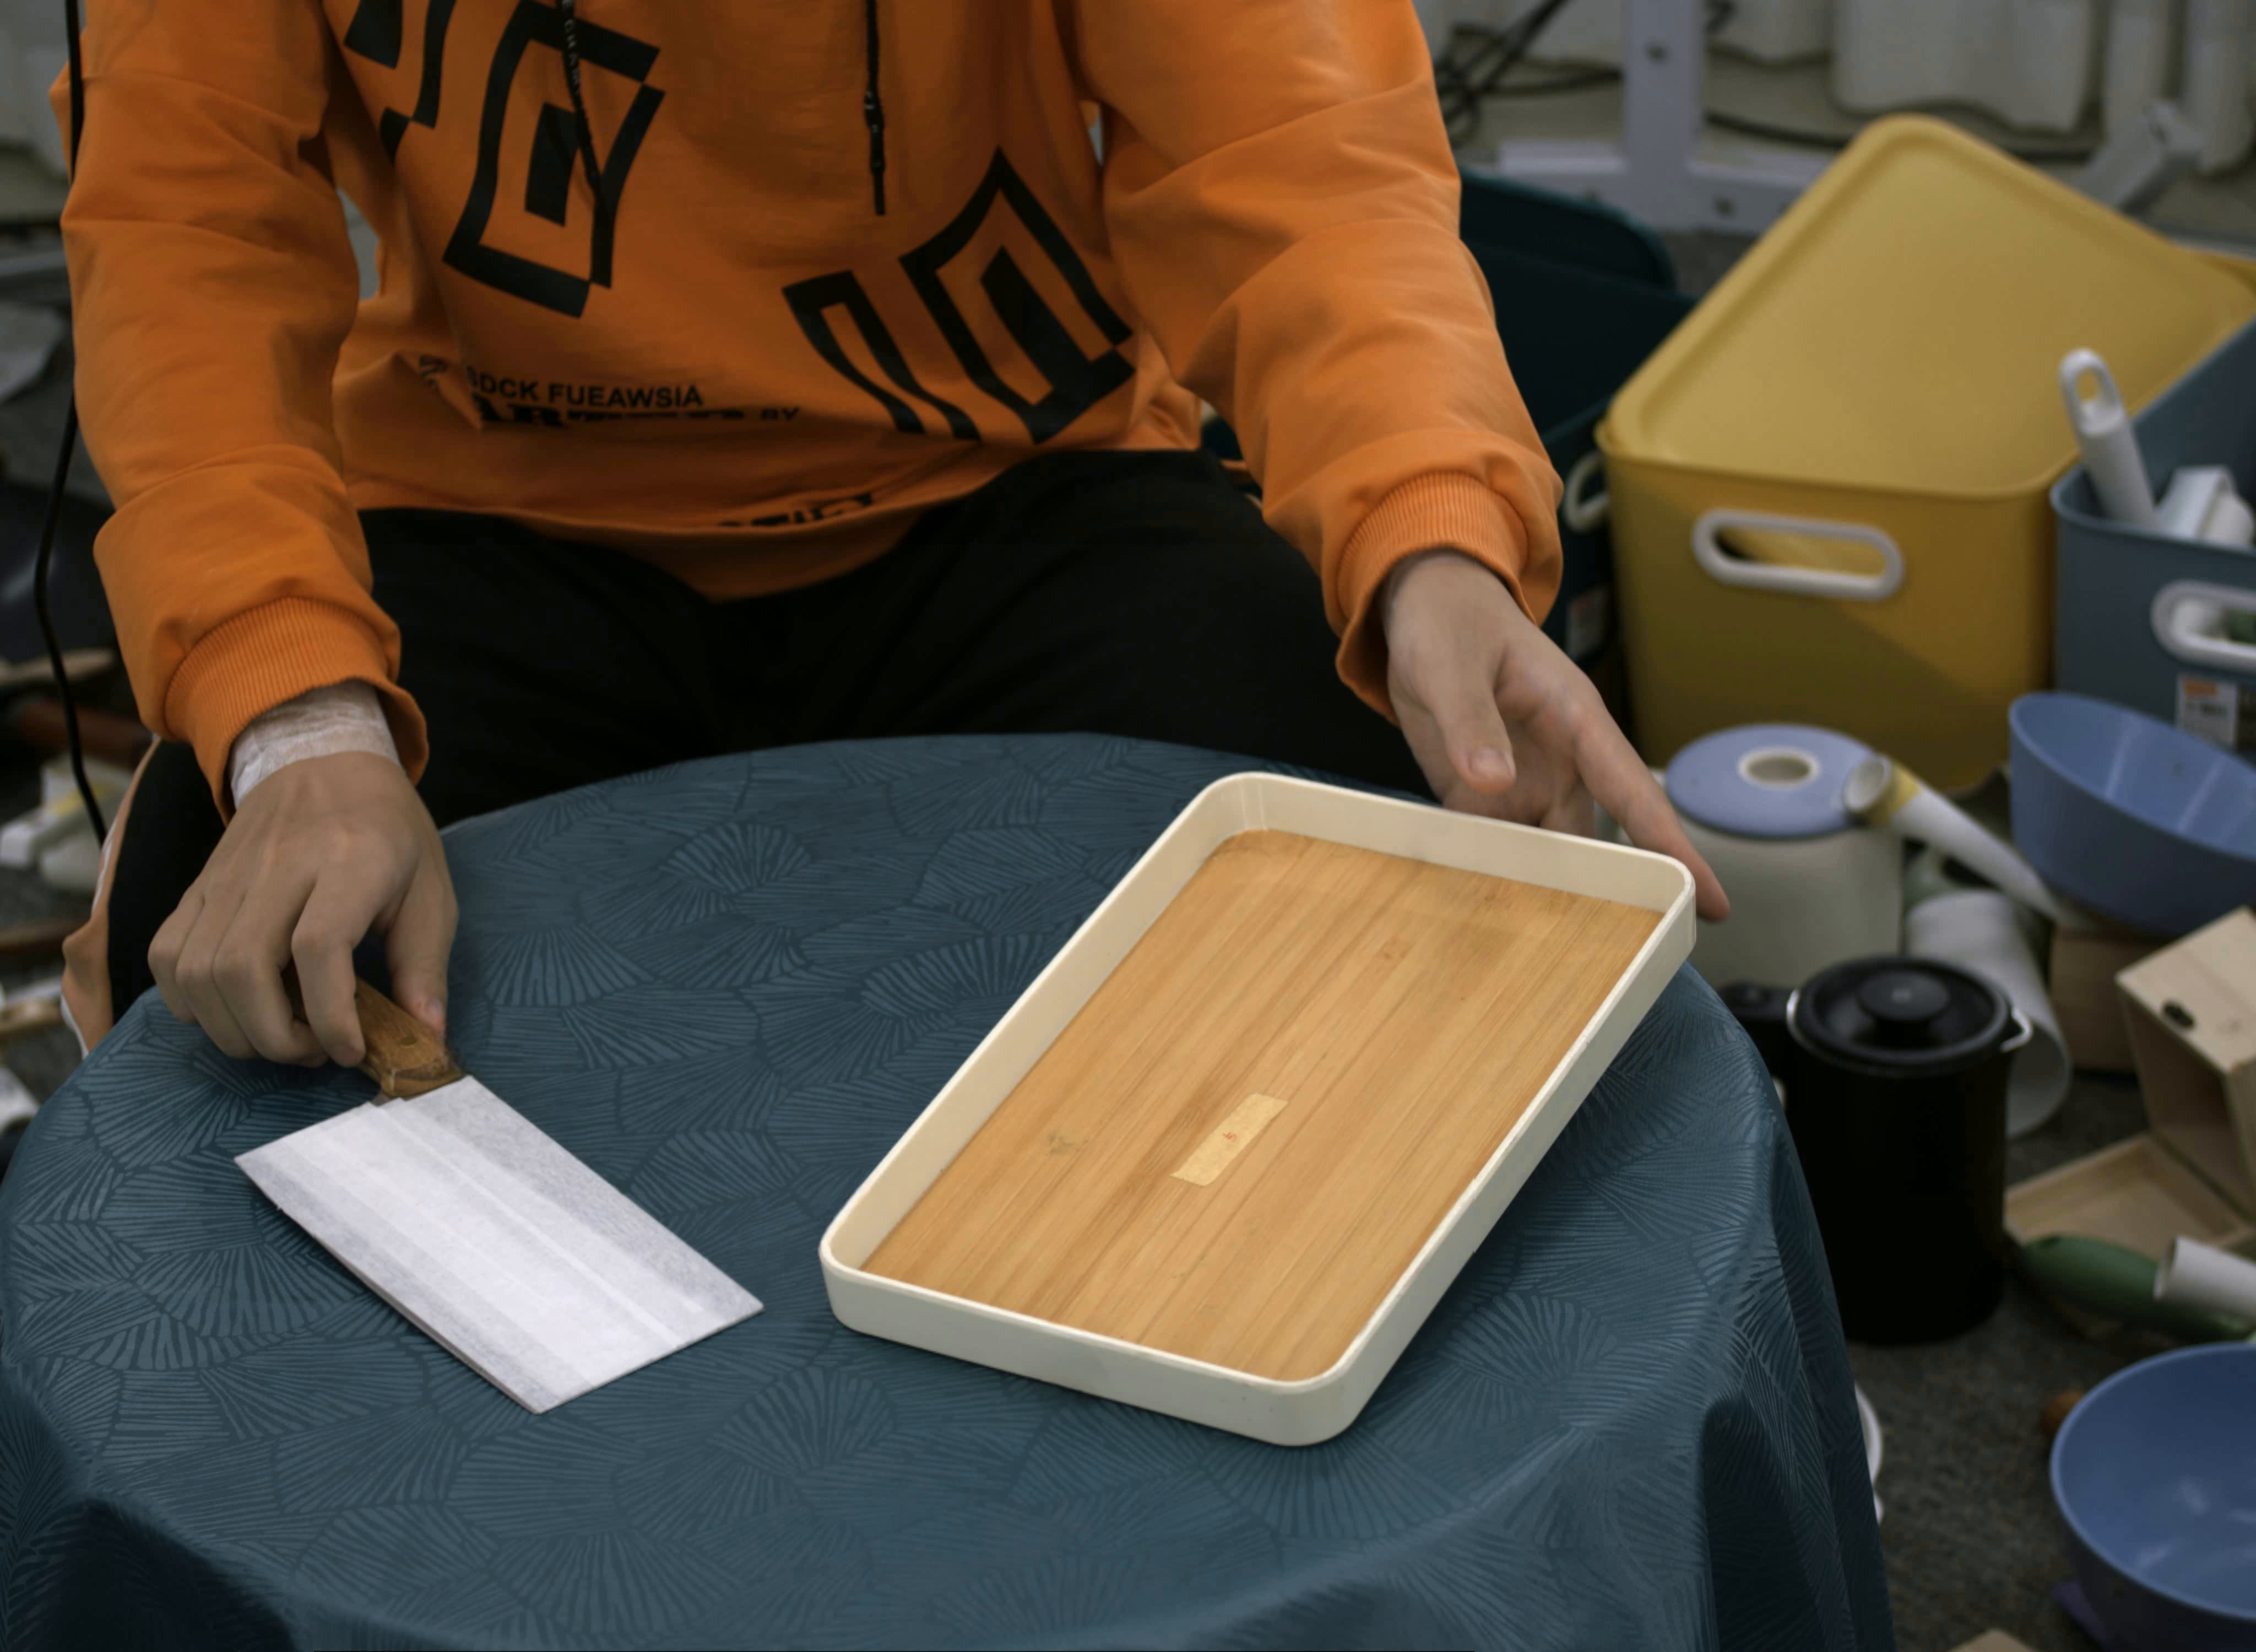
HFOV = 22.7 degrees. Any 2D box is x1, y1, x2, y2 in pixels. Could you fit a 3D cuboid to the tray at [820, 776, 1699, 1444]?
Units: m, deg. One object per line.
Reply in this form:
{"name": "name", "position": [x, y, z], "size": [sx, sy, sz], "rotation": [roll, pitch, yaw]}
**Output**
{"name": "tray", "position": [0.048, 0.087, 1.859], "size": [0.190, 0.027, 0.306], "rotation": [12, 38, 26]}

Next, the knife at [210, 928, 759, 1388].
{"name": "knife", "position": [-0.243, 0.113, 1.888], "size": [0.094, 0.021, 0.306], "rotation": [-24, 36, -30]}
